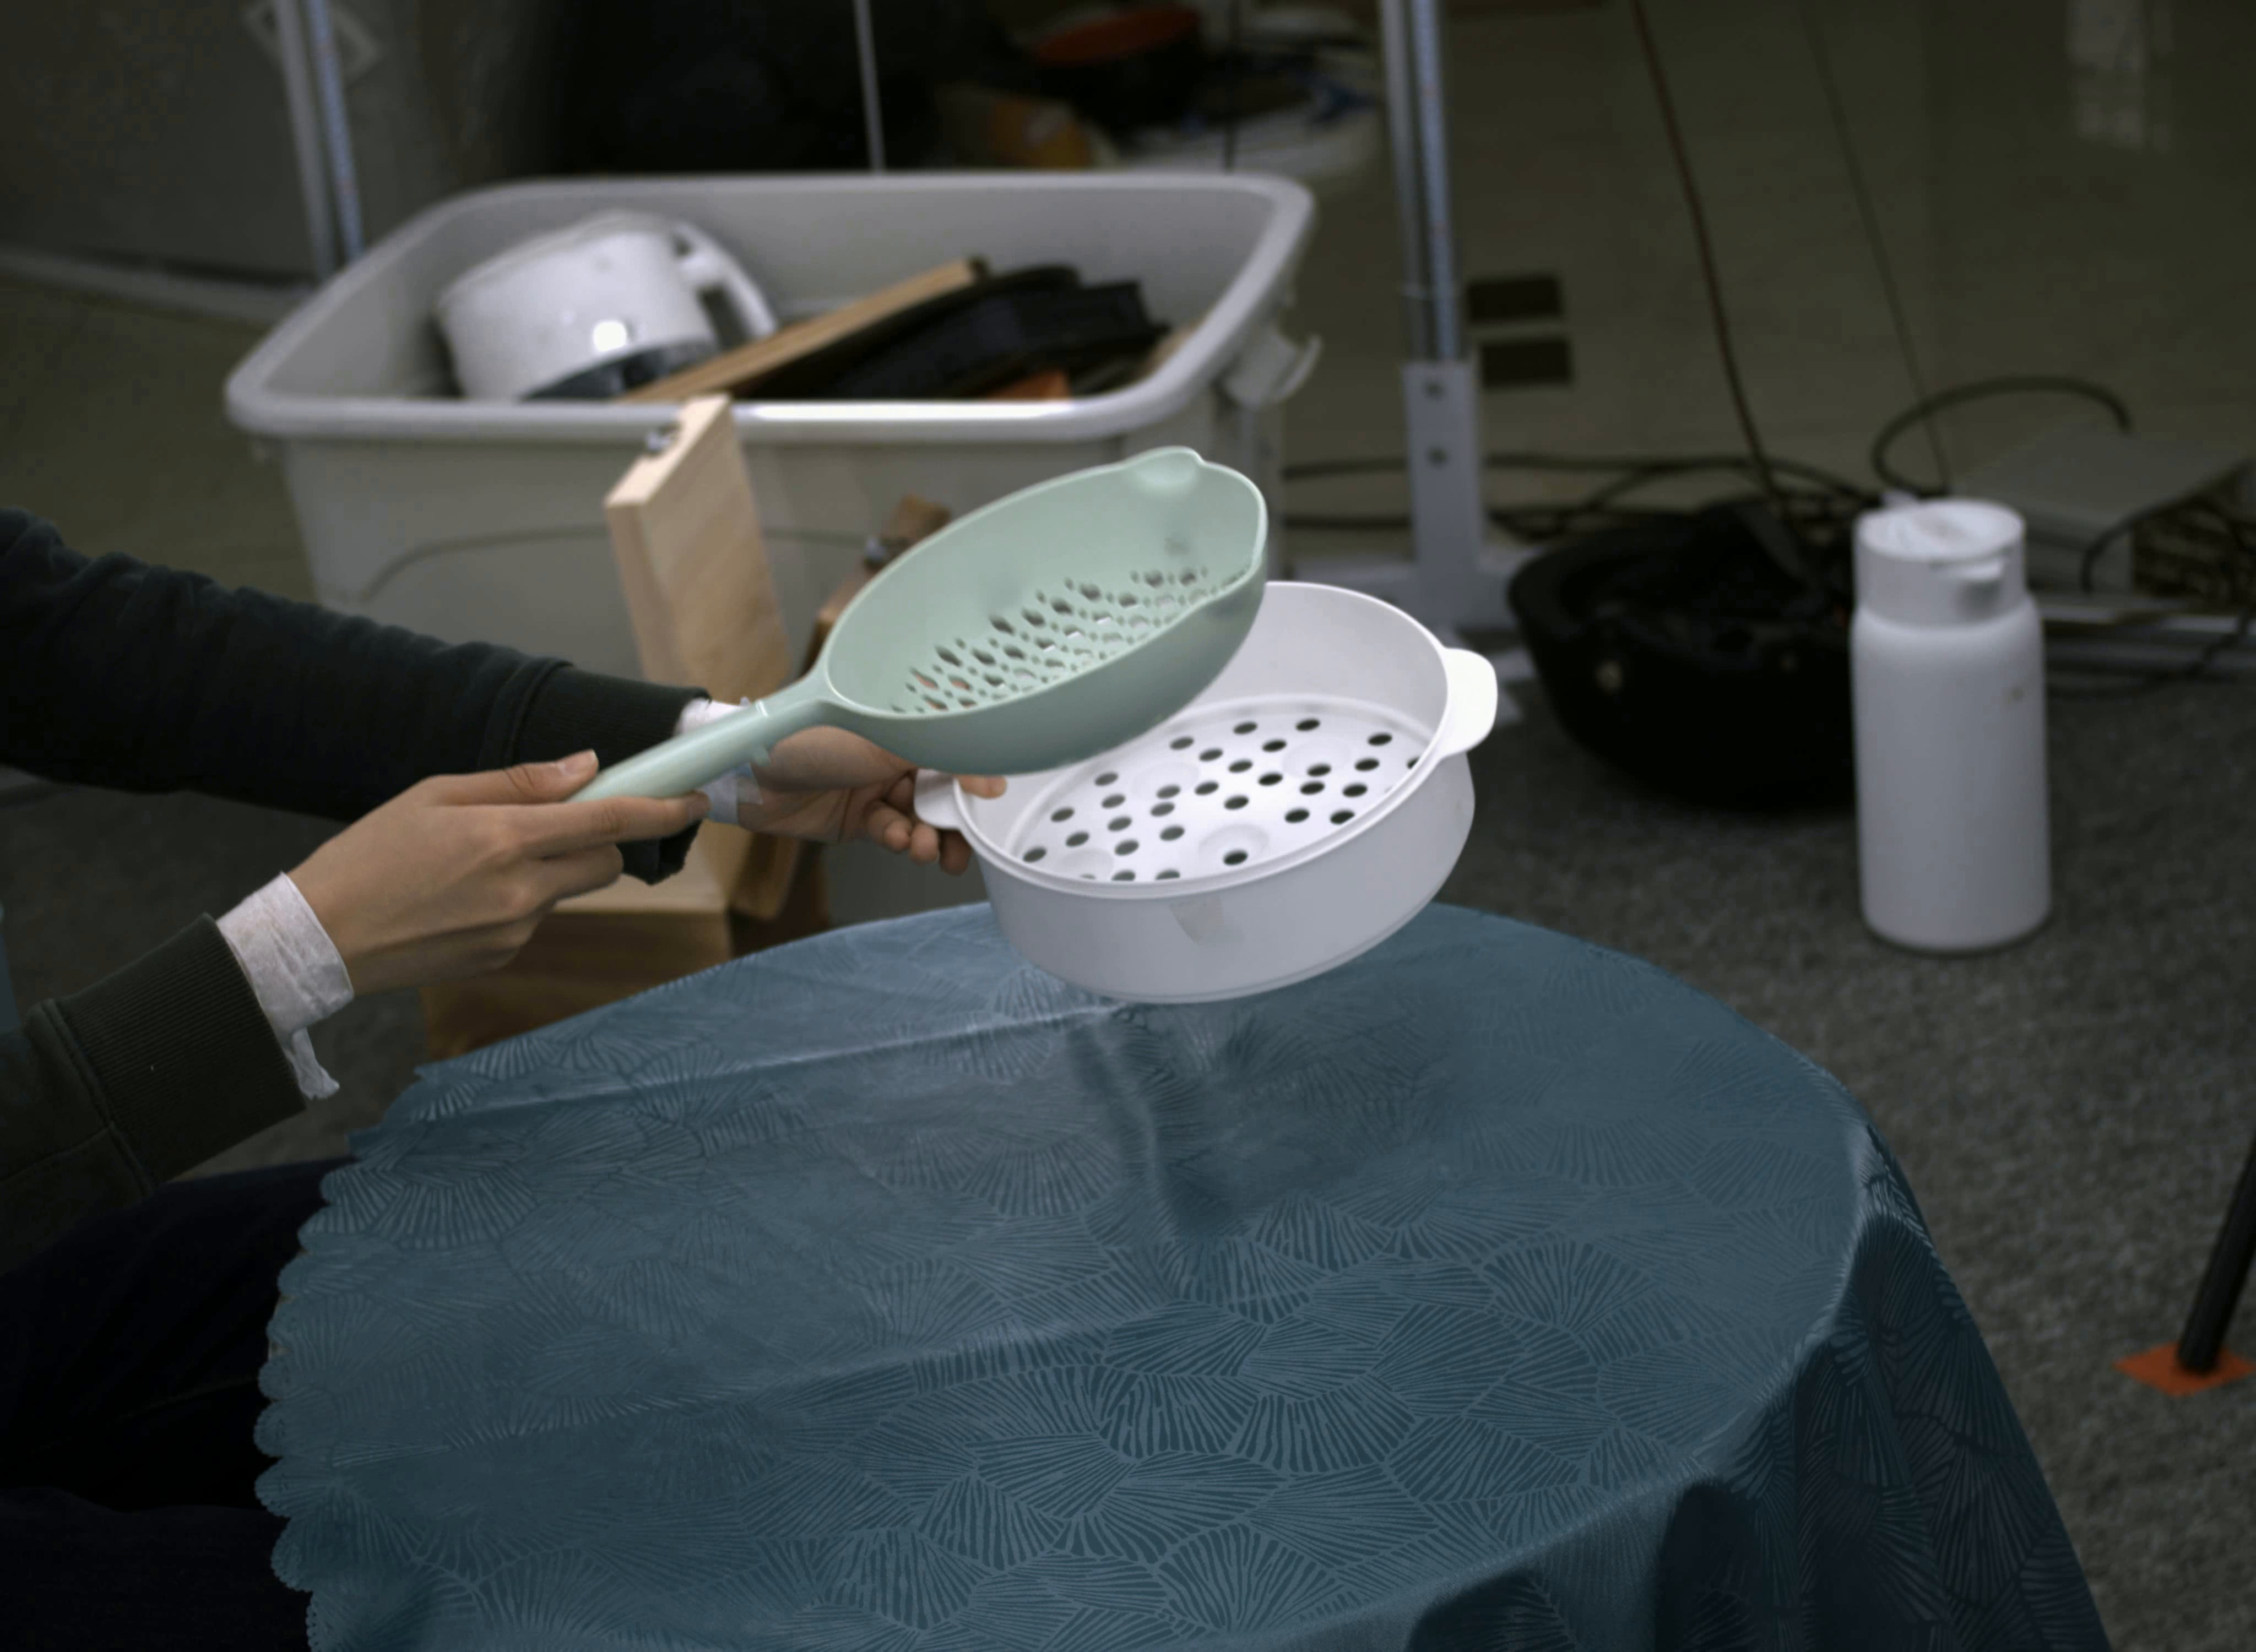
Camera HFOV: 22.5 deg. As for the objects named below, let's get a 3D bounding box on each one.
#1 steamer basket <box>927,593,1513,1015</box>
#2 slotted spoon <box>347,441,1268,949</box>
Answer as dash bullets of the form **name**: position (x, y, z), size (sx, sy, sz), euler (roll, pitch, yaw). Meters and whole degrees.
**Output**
- **steamer basket**: position (0.040, -0.008, 2.188), size (0.230, 0.070, 0.198), euler (-9, 35, 10)
- **slotted spoon**: position (-0.117, -0.039, 2.029), size (0.358, 0.076, 0.167), euler (-17, 26, -5)
